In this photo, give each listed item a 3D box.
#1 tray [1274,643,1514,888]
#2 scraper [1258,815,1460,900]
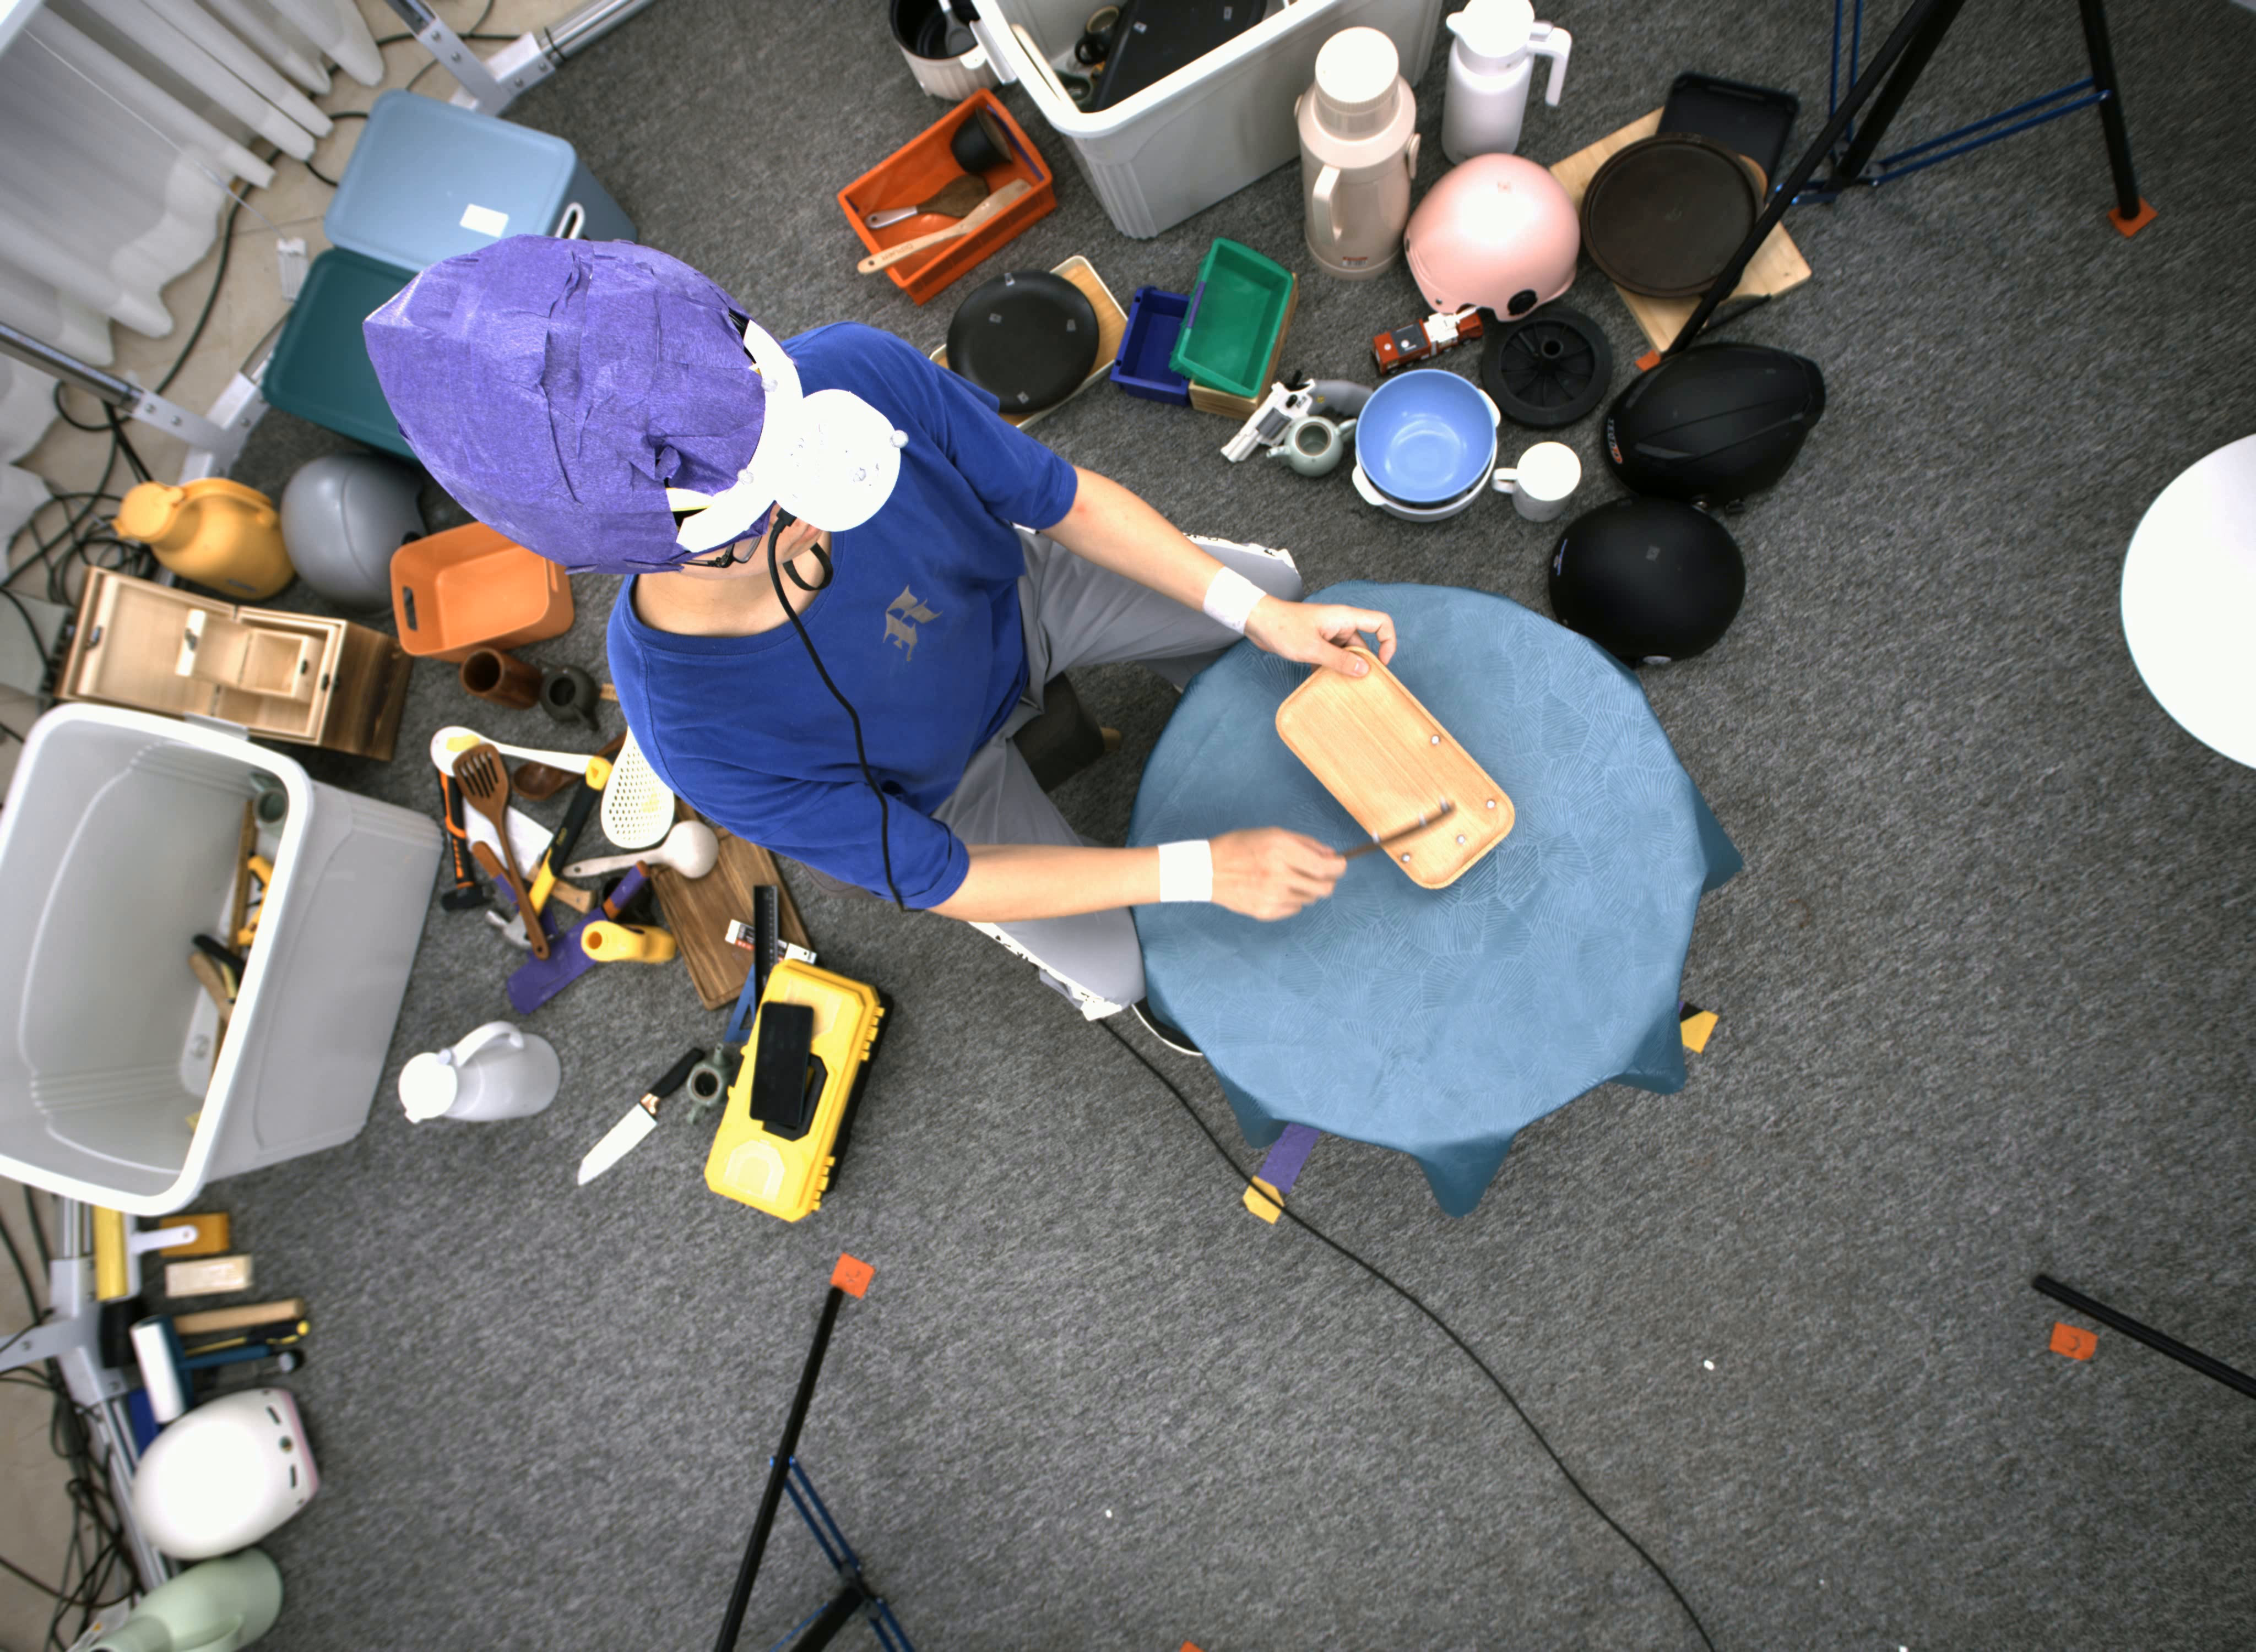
[{"bbox_3d":[0.267,-0.062,1.385,0.132,0.022,0.250,-42,87,17],"label":"tray"},{"bbox_3d":[0.223,0.032,1.341,0.213,0.075,0.011,-22,92,18],"label":"scraper"}]
